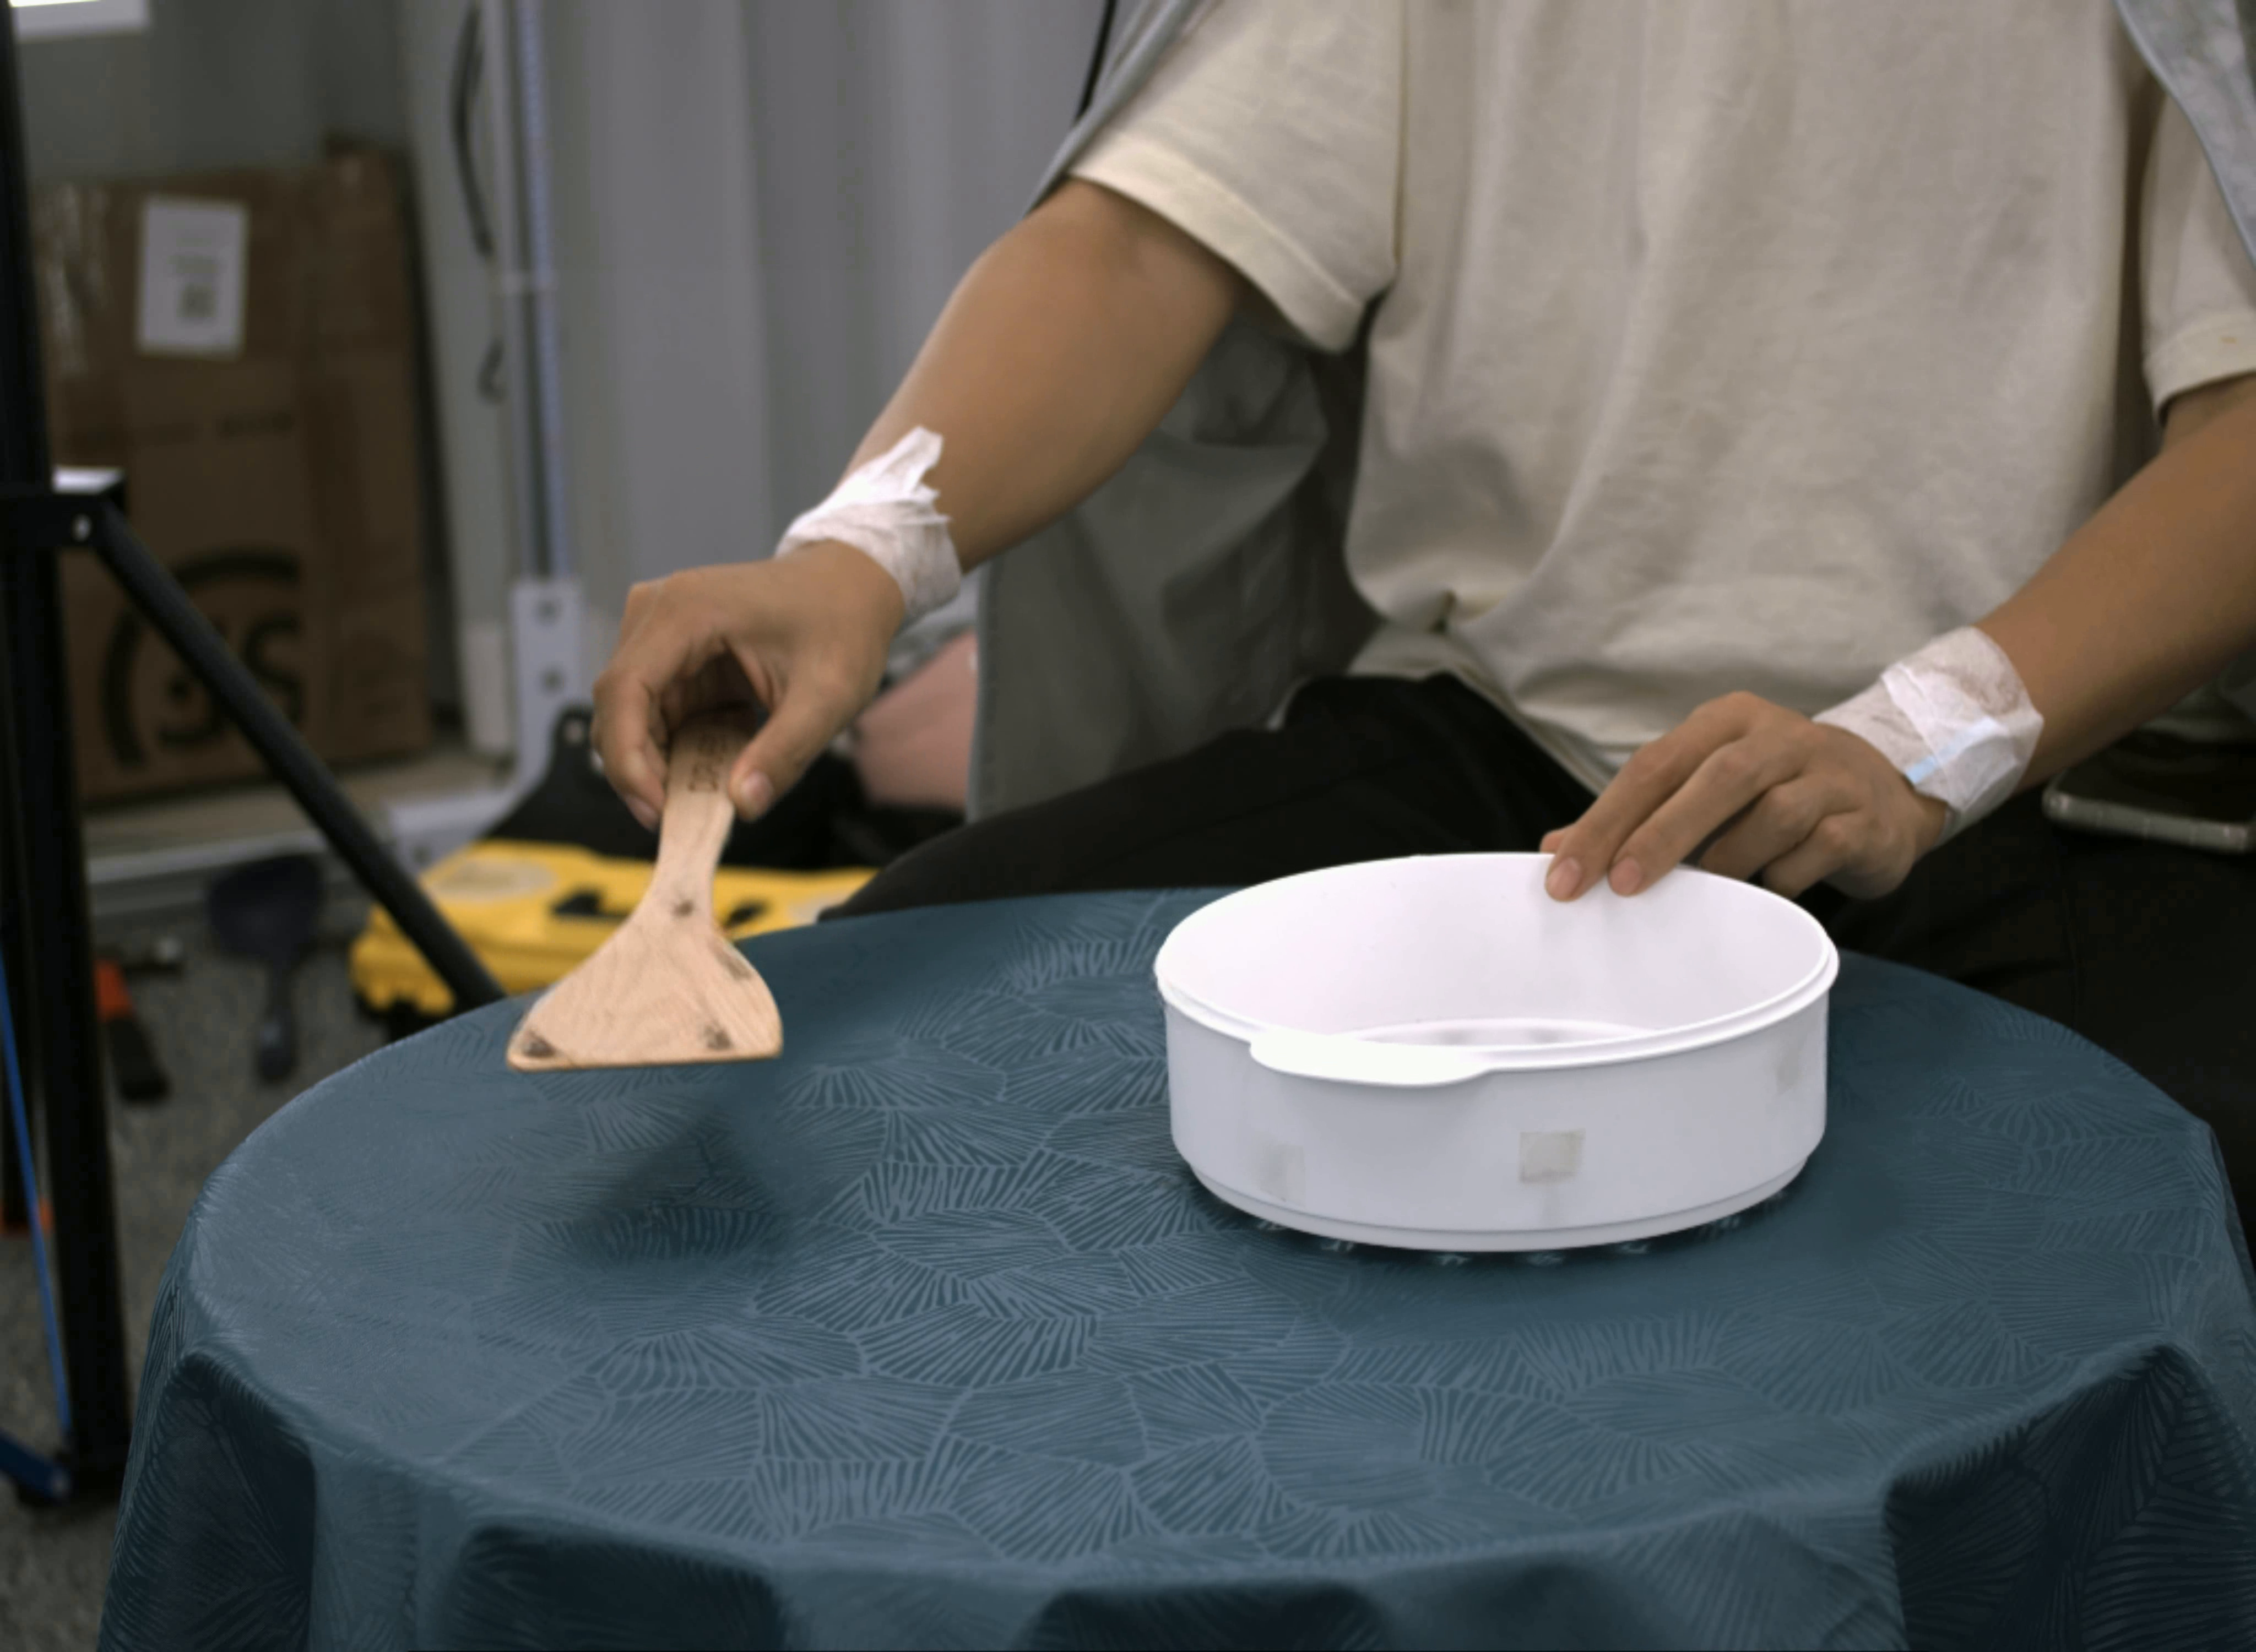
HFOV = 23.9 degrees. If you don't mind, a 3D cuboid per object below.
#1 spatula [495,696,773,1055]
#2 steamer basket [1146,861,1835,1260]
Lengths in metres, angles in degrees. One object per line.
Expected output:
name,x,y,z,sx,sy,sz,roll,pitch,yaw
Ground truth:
spatula,-0.142,0.012,1.665,0.079,0.016,0.329,-1,21,0
steamer basket,0.106,0.069,1.557,0.205,0.069,0.227,7,17,26
